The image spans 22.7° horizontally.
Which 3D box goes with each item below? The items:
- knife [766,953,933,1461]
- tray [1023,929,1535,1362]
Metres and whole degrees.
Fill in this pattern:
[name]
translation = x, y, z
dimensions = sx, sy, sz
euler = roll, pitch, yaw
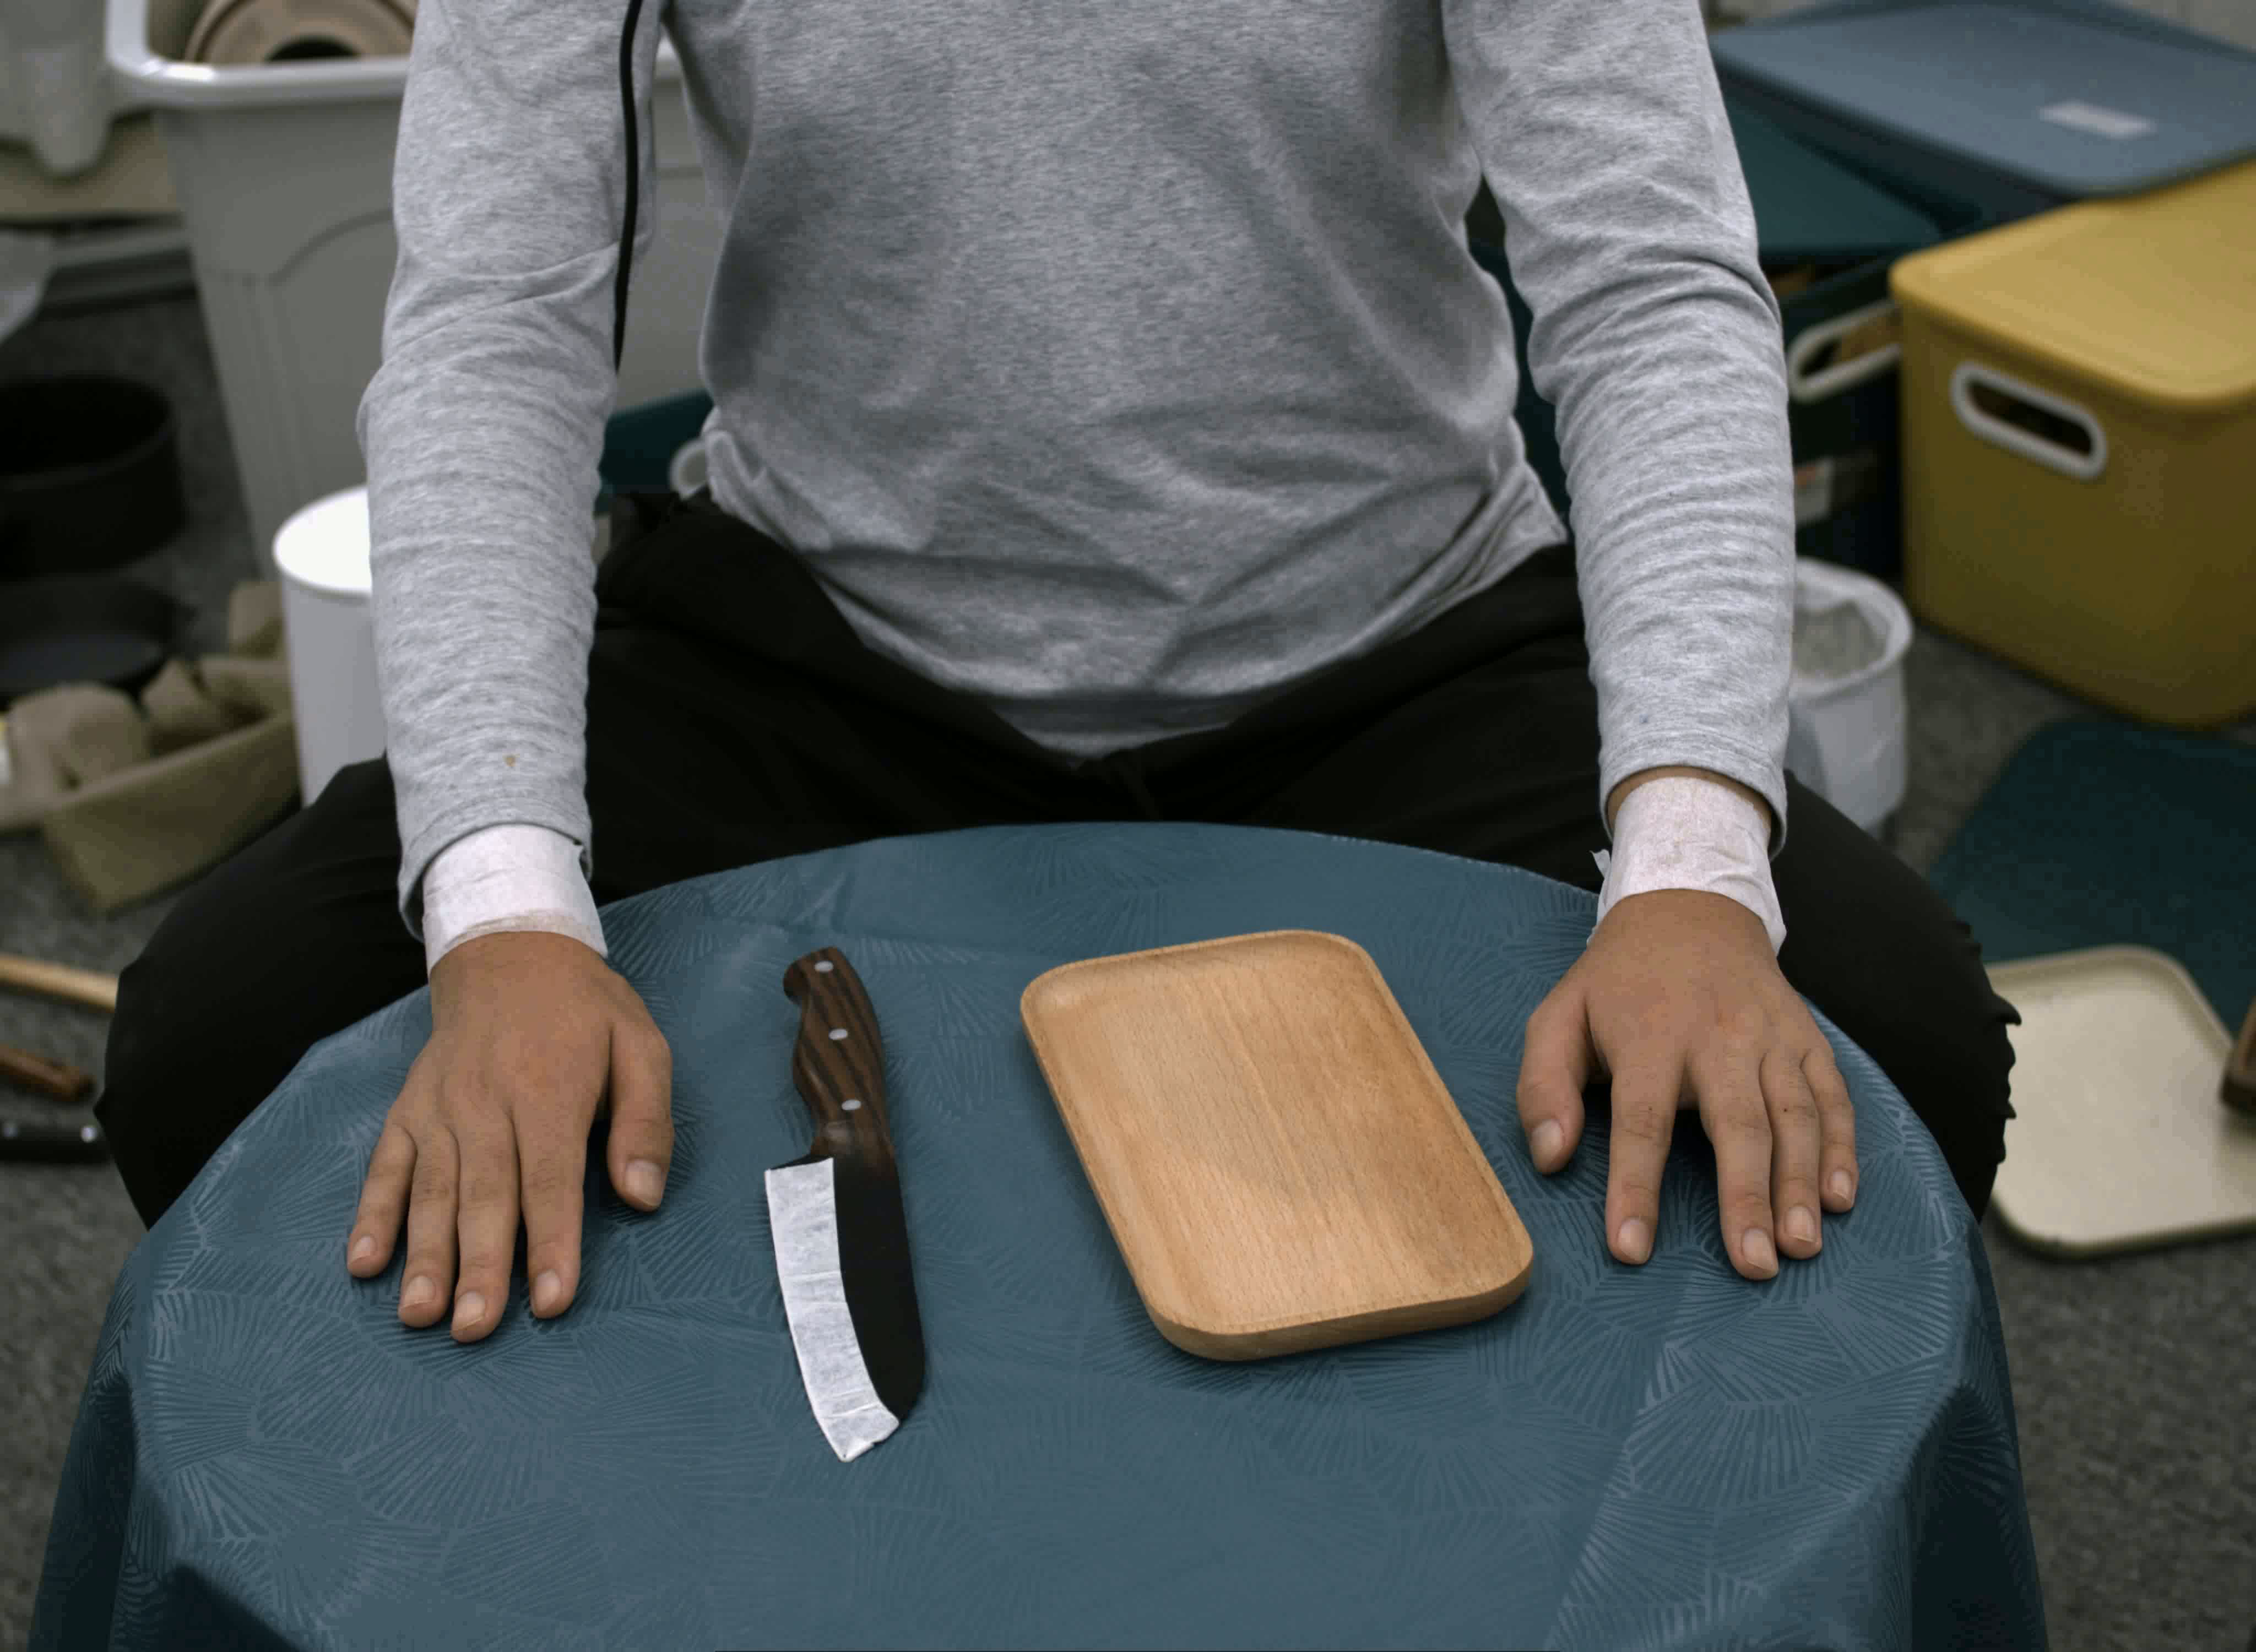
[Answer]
[knife]
translation = -0.095, 0.123, 1.851
dimensions = 0.050, 0.020, 0.293
euler = -9, 30, -1
[tray]
translation = 0.047, 0.104, 1.875
dimensions = 0.130, 0.022, 0.253
euler = -6, 27, -10
